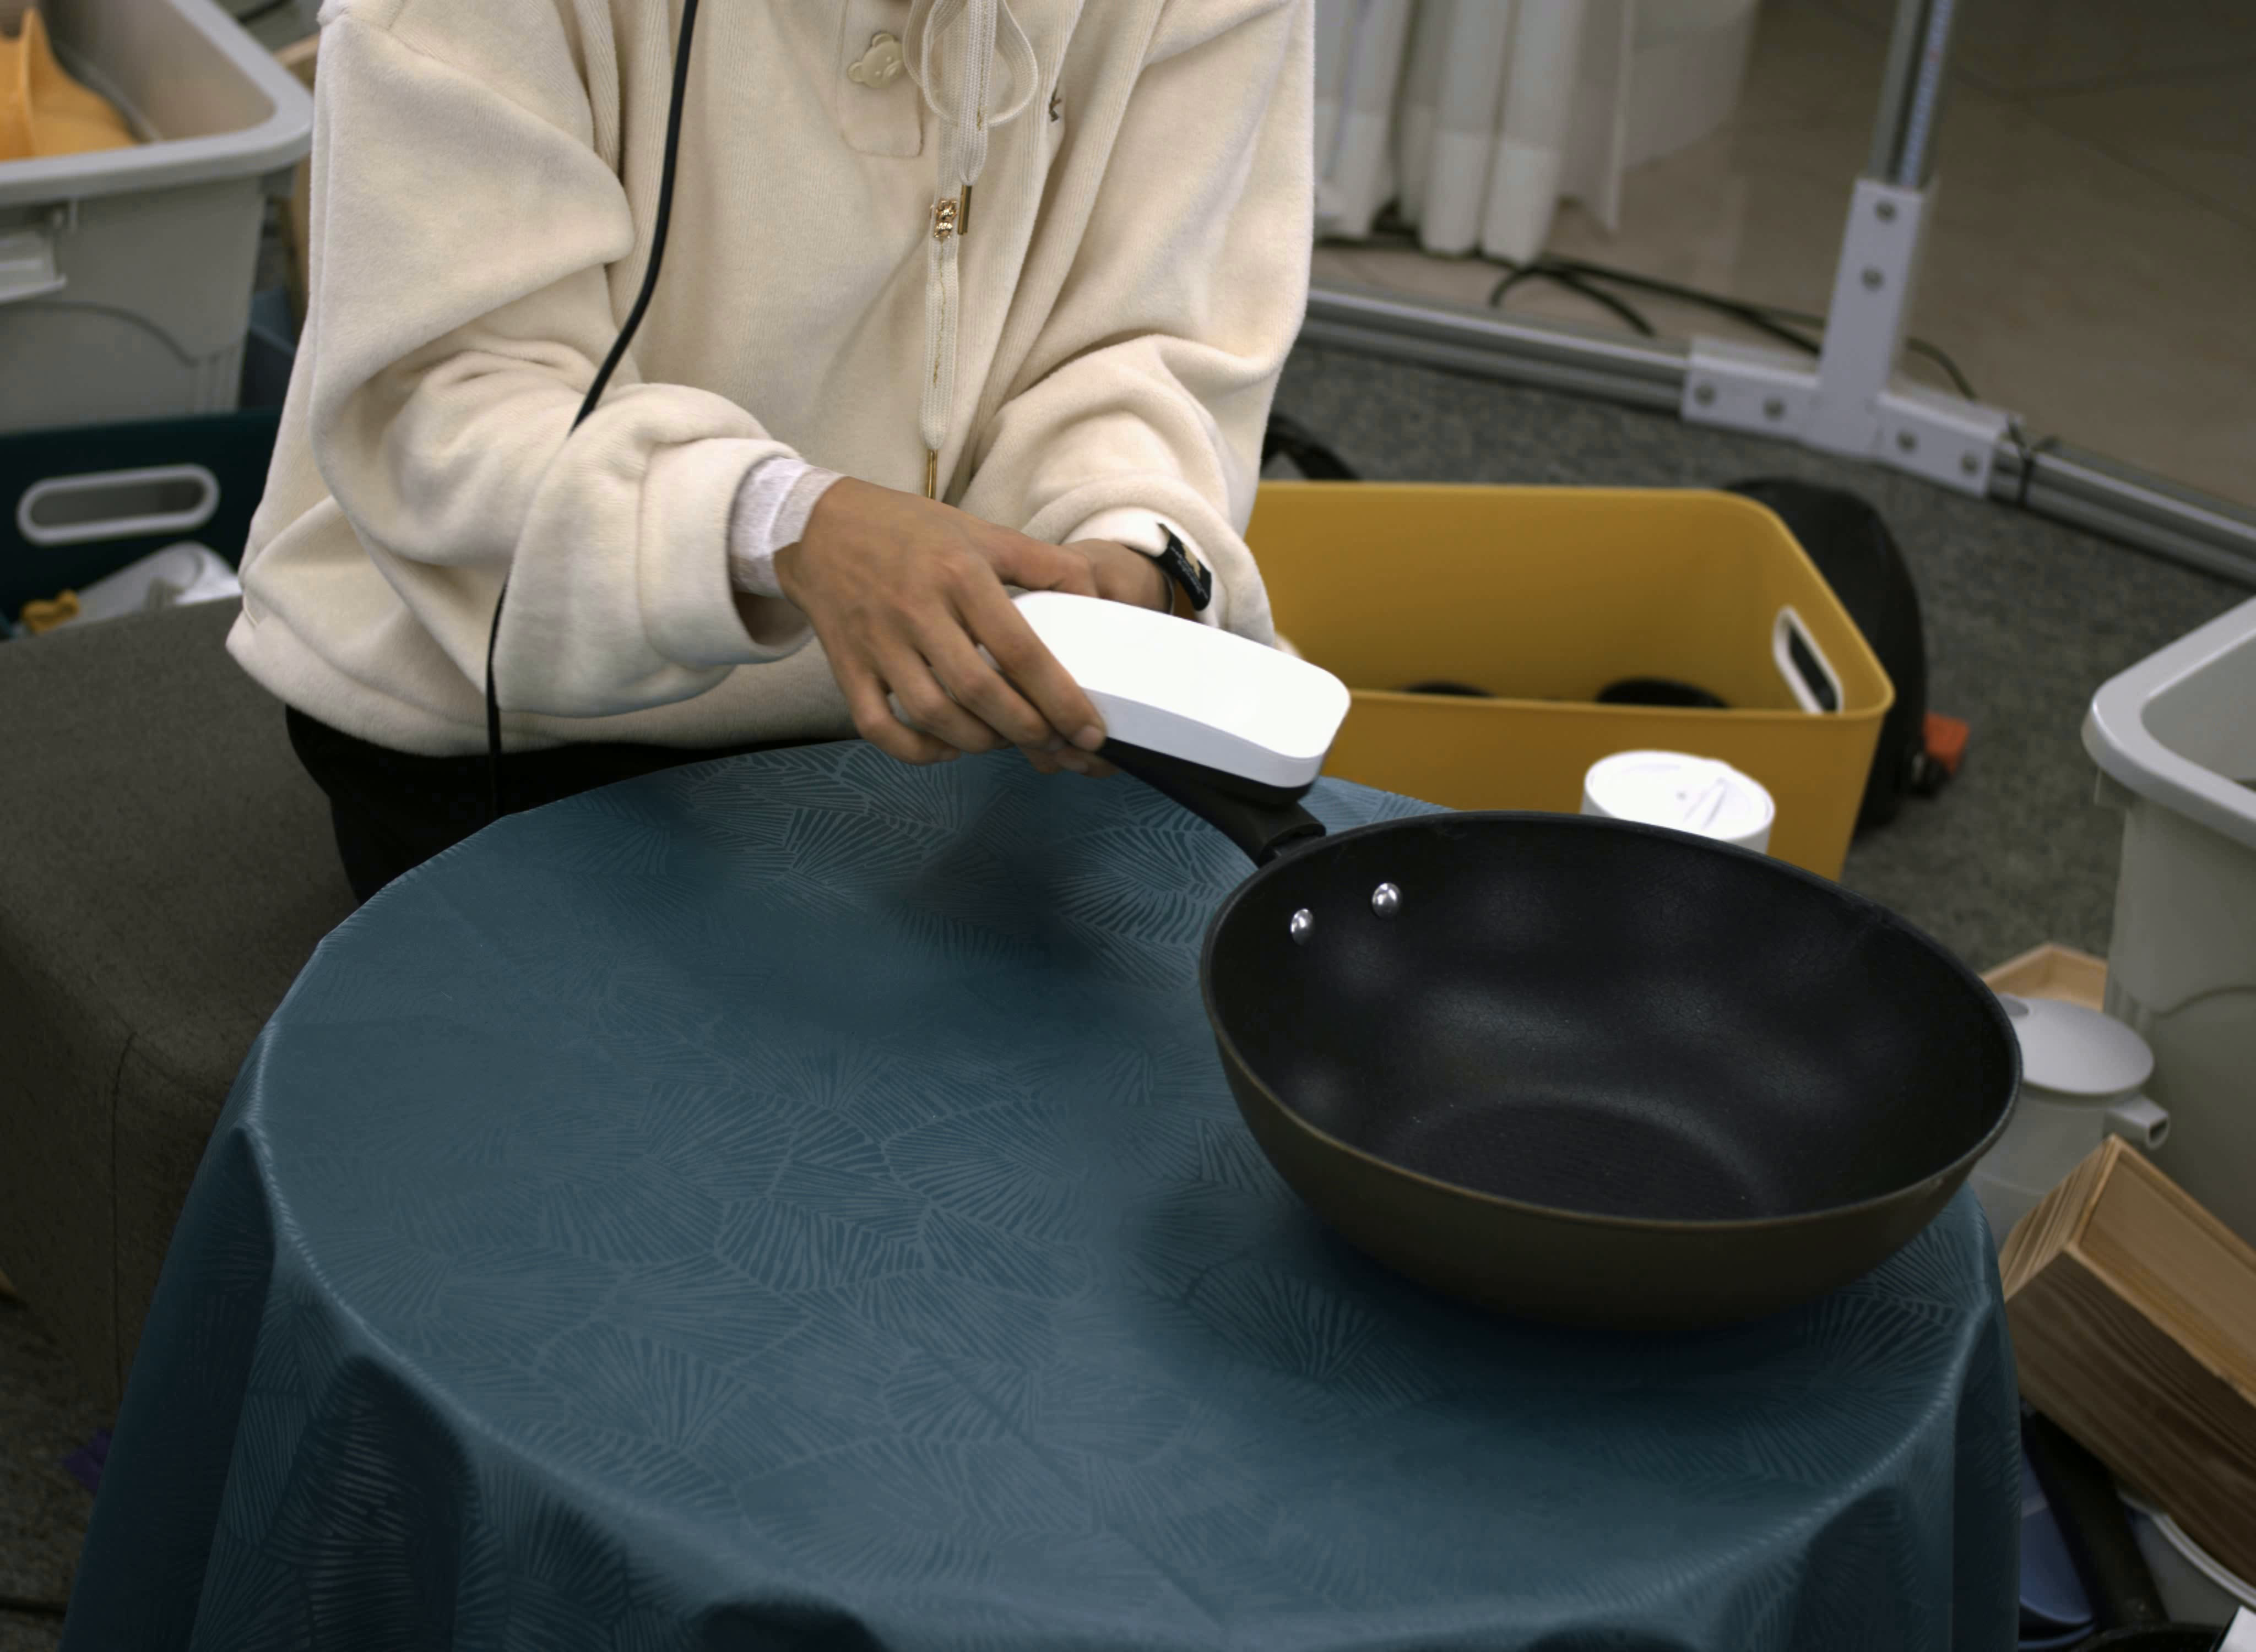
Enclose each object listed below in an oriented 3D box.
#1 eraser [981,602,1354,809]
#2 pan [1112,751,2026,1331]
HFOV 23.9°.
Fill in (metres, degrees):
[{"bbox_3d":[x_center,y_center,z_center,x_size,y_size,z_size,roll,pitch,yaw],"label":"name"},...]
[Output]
[{"bbox_3d":[0.014,-0.047,1.910,0.131,0.034,0.063,17,32,11],"label":"eraser"},{"bbox_3d":[0.097,0.058,1.862,0.286,0.086,0.467,-16,34,-39],"label":"pan"}]
